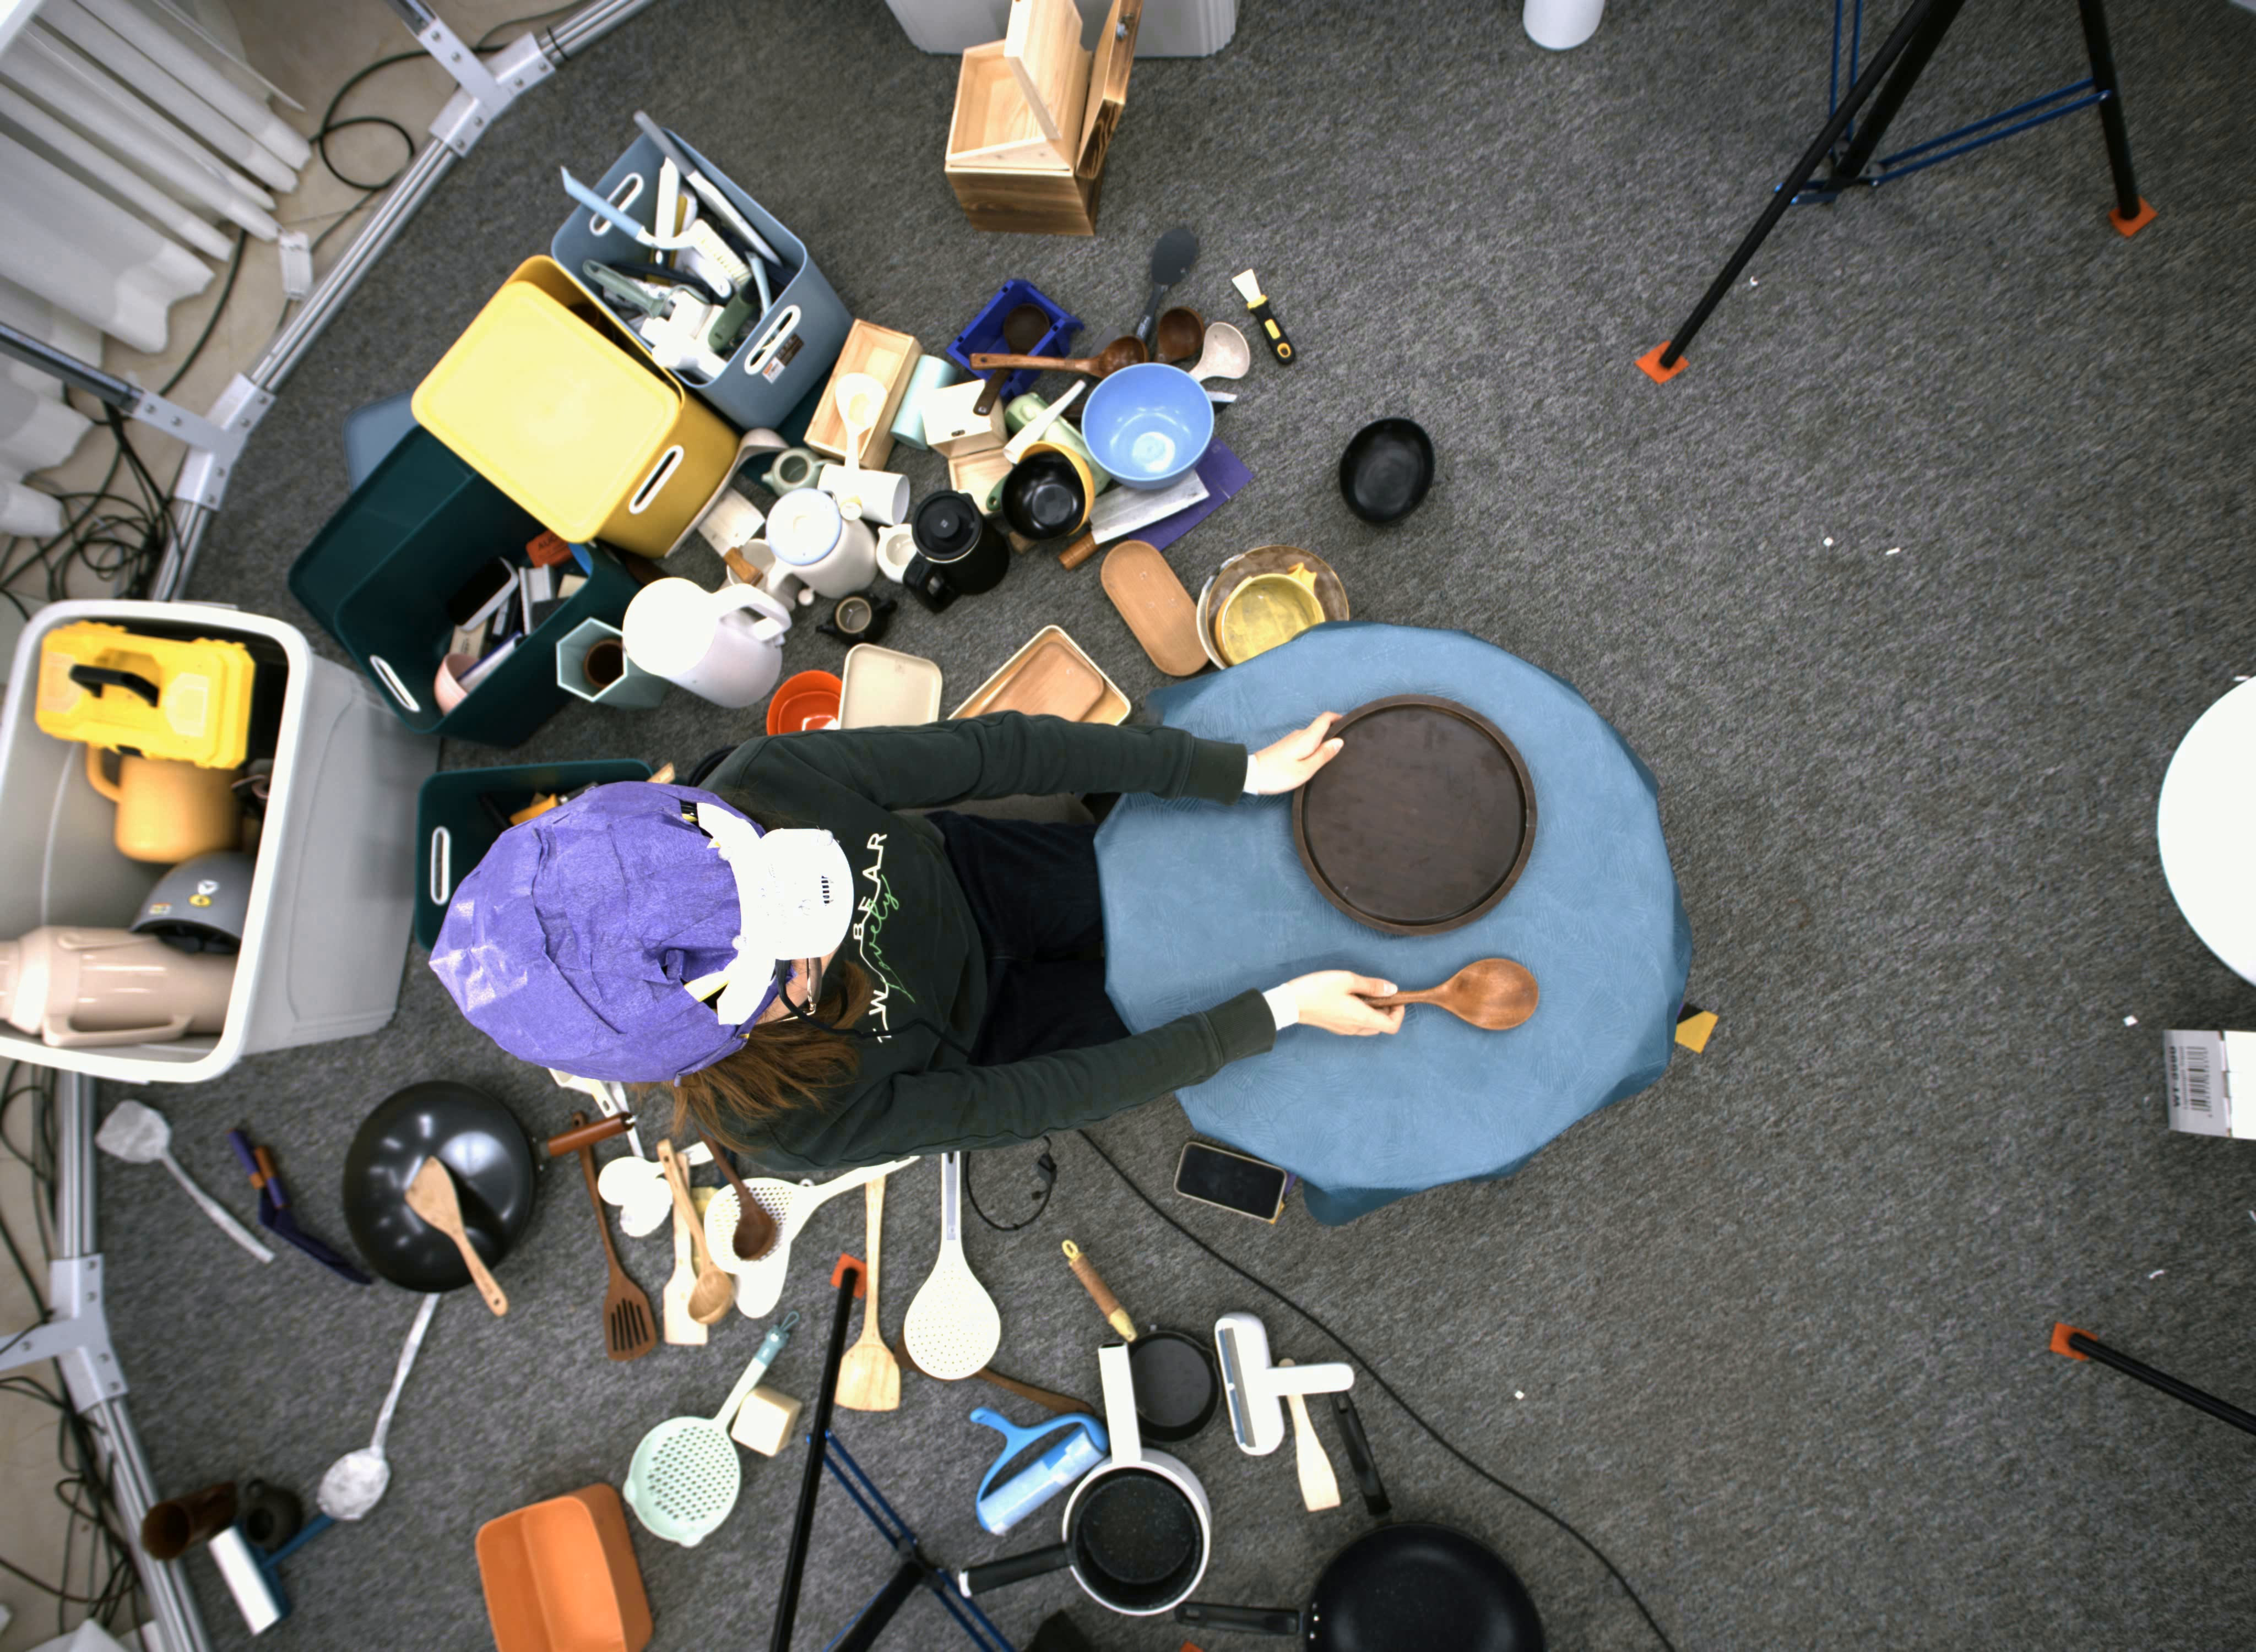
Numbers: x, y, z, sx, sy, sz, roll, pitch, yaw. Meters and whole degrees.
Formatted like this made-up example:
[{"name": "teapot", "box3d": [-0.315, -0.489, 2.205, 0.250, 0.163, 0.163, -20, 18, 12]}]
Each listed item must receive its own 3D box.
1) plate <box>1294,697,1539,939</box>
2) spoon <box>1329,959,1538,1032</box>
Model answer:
[{"name": "plate", "box3d": [0.301, -0.010, 1.444, 0.255, 0.029, 0.254, 0, 88, 6]}, {"name": "spoon", "box3d": [0.316, 0.177, 1.429, 0.216, 0.017, 0.075, -3, 84, 1]}]
